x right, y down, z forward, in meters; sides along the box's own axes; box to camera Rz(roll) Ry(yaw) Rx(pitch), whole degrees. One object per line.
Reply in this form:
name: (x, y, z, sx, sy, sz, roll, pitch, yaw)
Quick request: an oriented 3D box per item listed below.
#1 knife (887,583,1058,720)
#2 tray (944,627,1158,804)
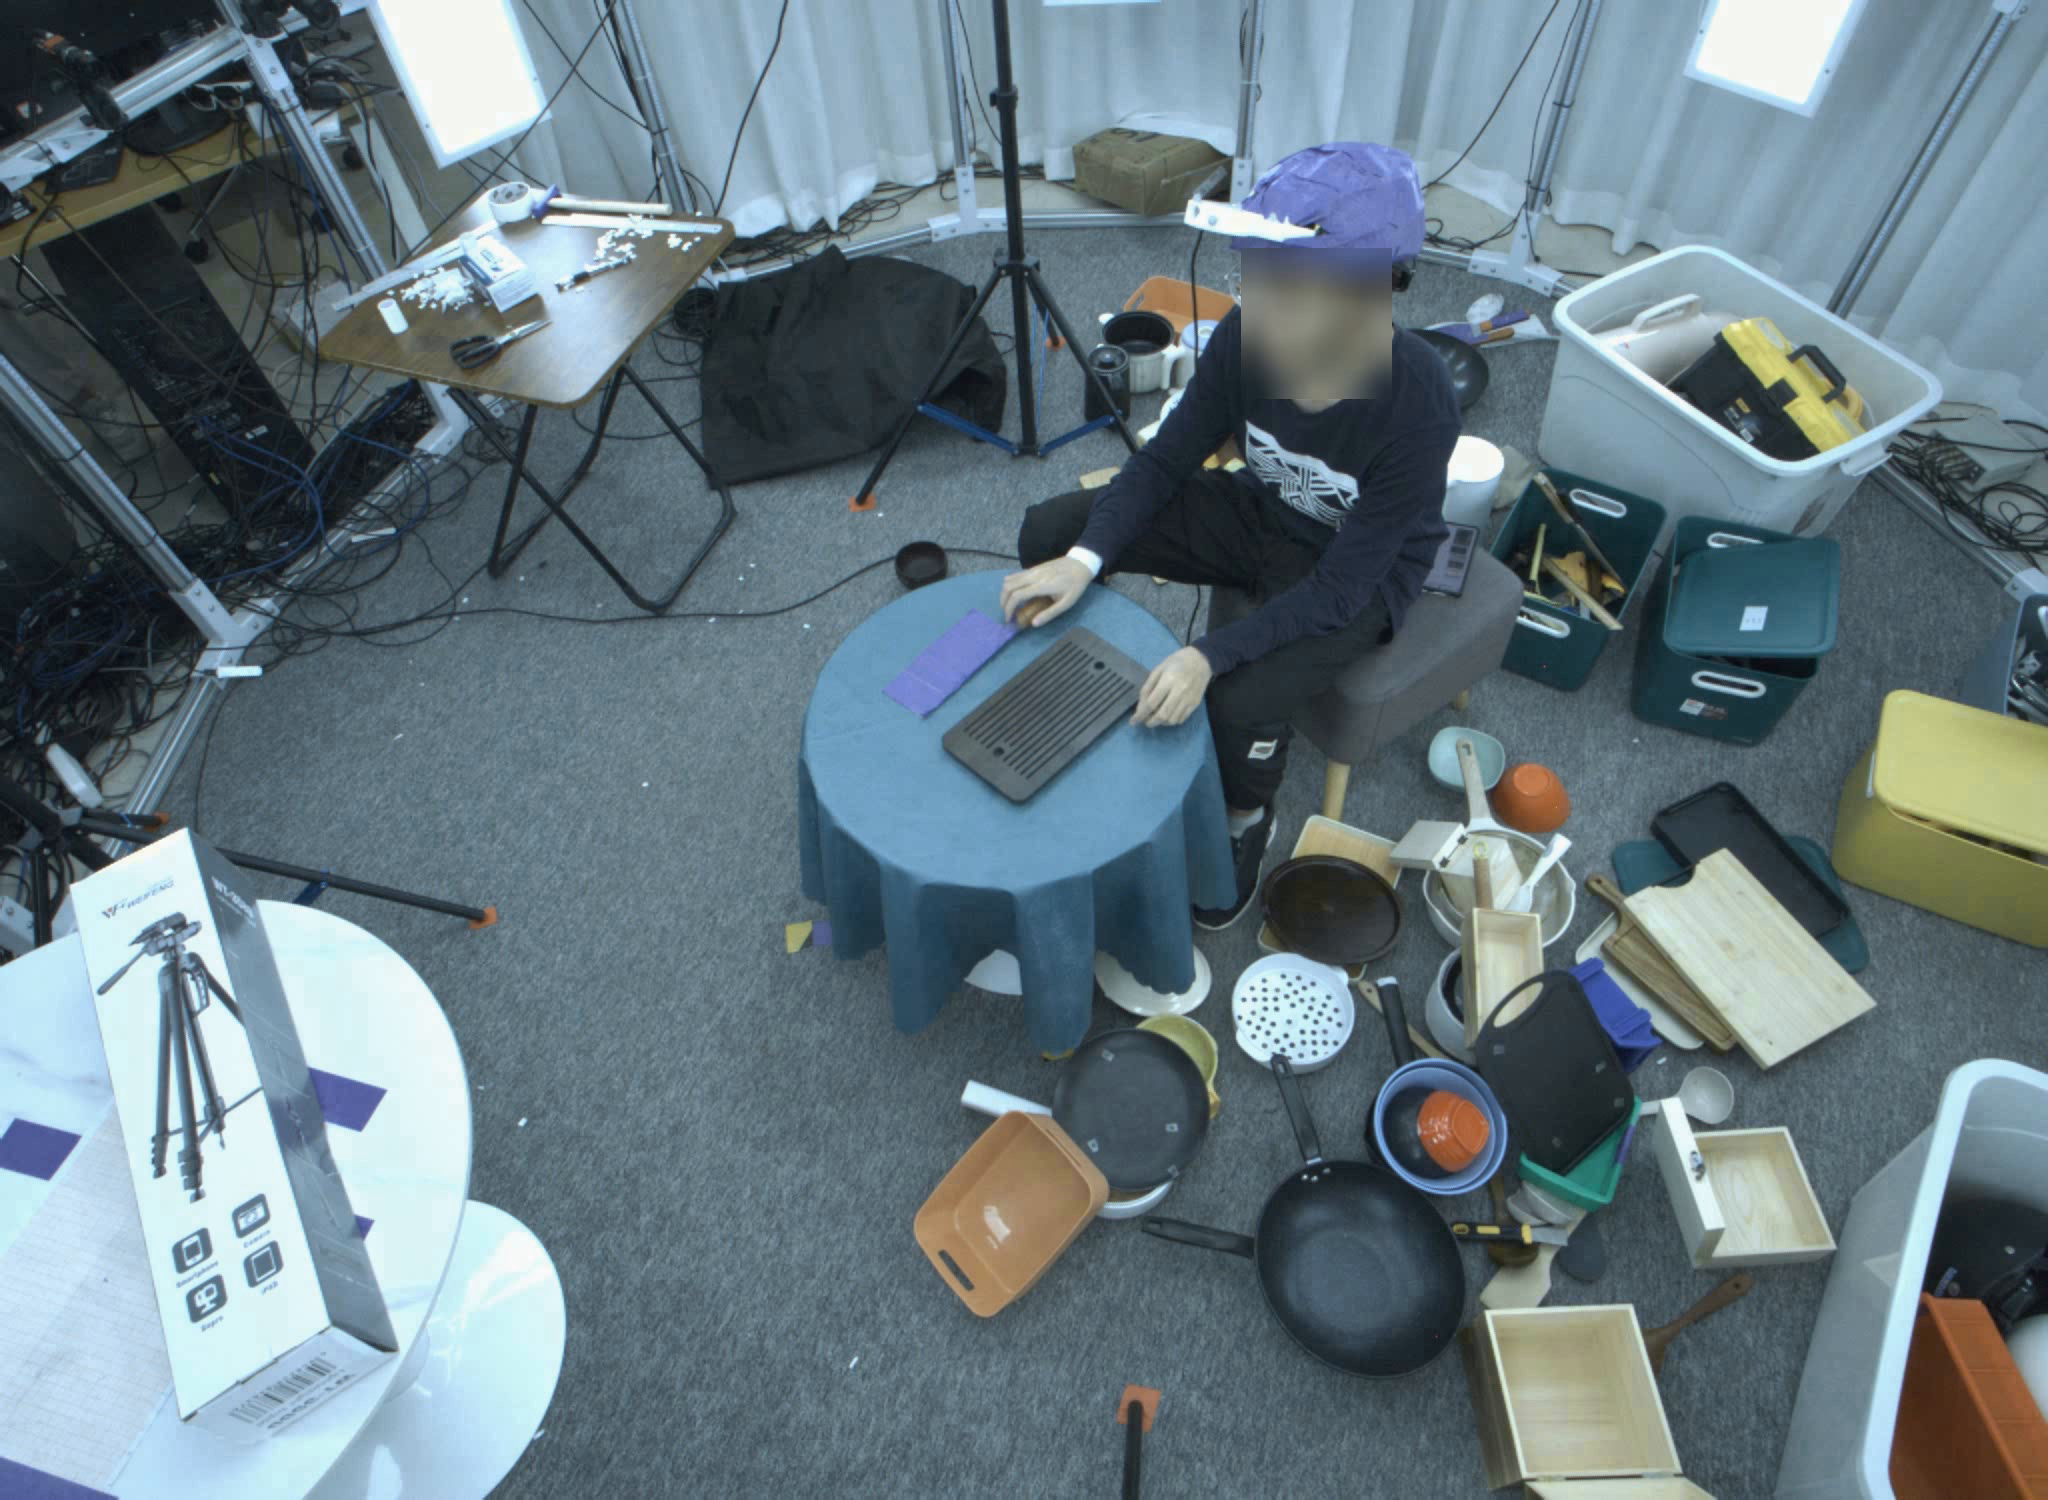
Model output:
knife: (-0.081, -0.171, 1.902, 0.102, 0.032, 0.317, 34, 63, 23)
tray: (0.042, -0.056, 1.822, 0.167, 0.019, 0.308, 37, 63, 24)
